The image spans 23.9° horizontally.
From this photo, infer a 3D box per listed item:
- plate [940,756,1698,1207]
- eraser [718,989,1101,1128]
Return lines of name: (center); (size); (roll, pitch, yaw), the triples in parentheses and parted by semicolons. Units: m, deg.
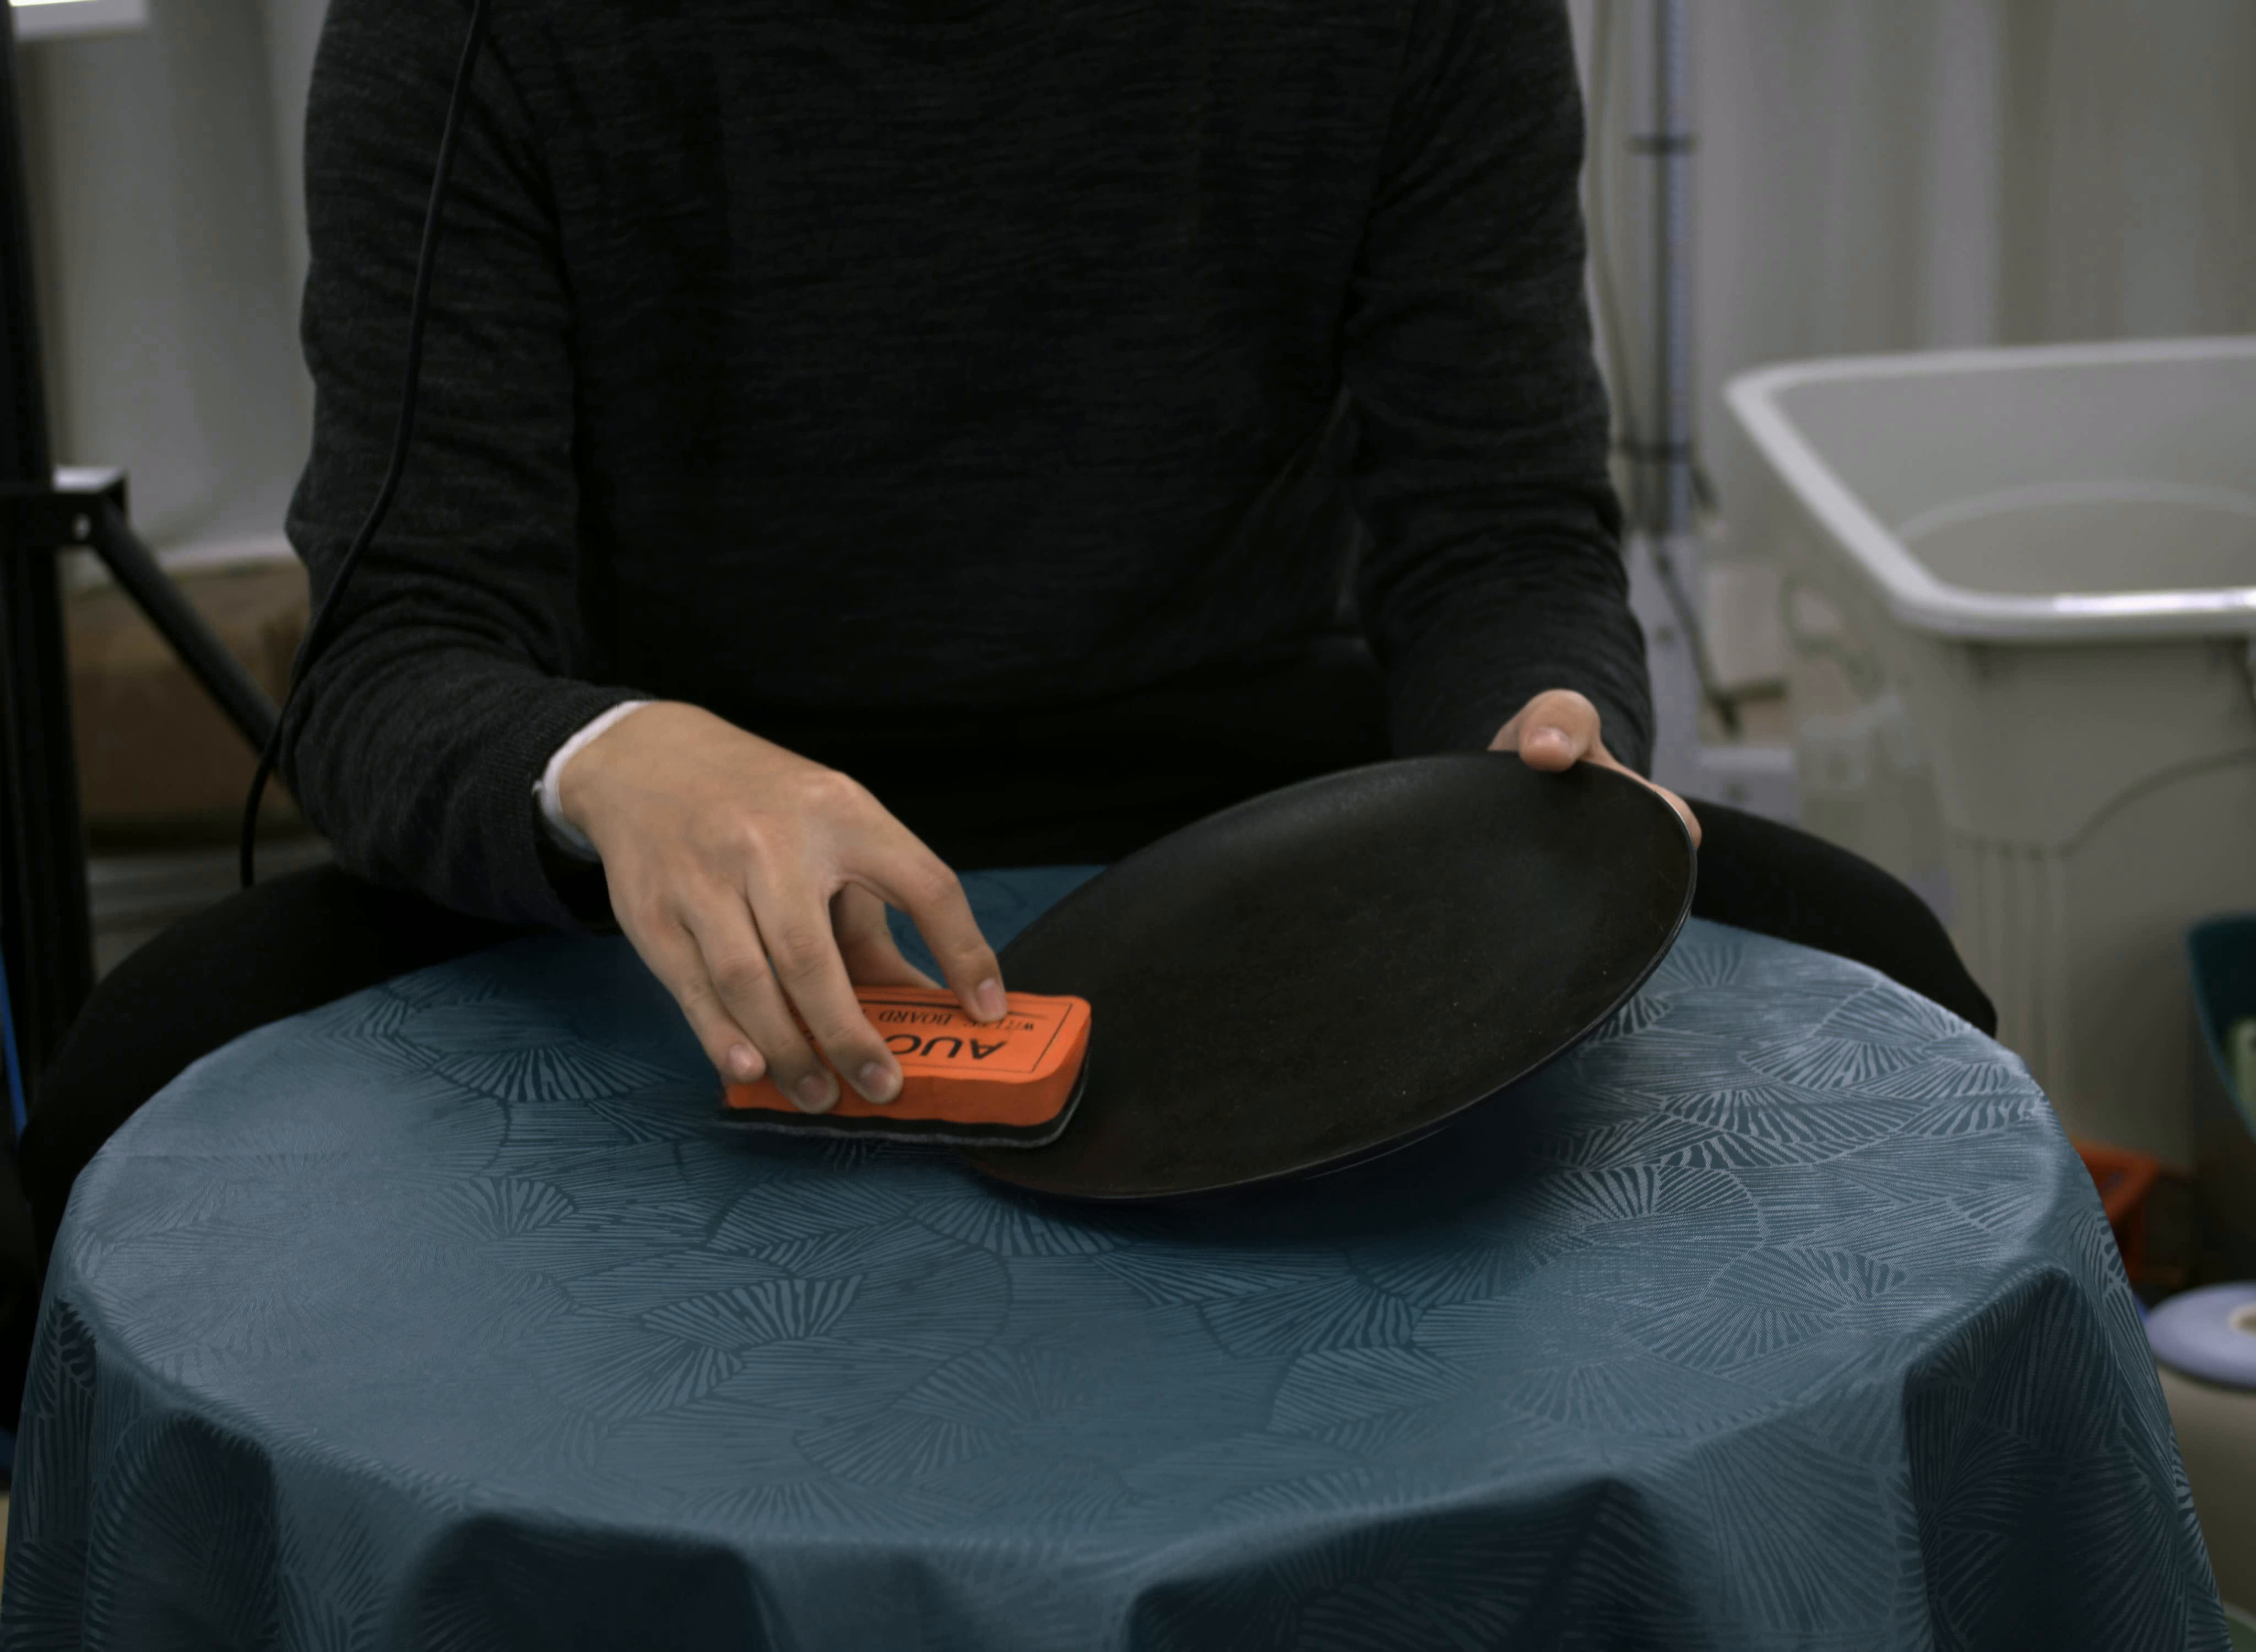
plate: (0.058, 0.050, 1.602); (0.244, 0.023, 0.246); (-19, 25, 7)
eraser: (-0.065, 0.070, 1.604); (0.109, 0.023, 0.058); (1, 18, 20)
